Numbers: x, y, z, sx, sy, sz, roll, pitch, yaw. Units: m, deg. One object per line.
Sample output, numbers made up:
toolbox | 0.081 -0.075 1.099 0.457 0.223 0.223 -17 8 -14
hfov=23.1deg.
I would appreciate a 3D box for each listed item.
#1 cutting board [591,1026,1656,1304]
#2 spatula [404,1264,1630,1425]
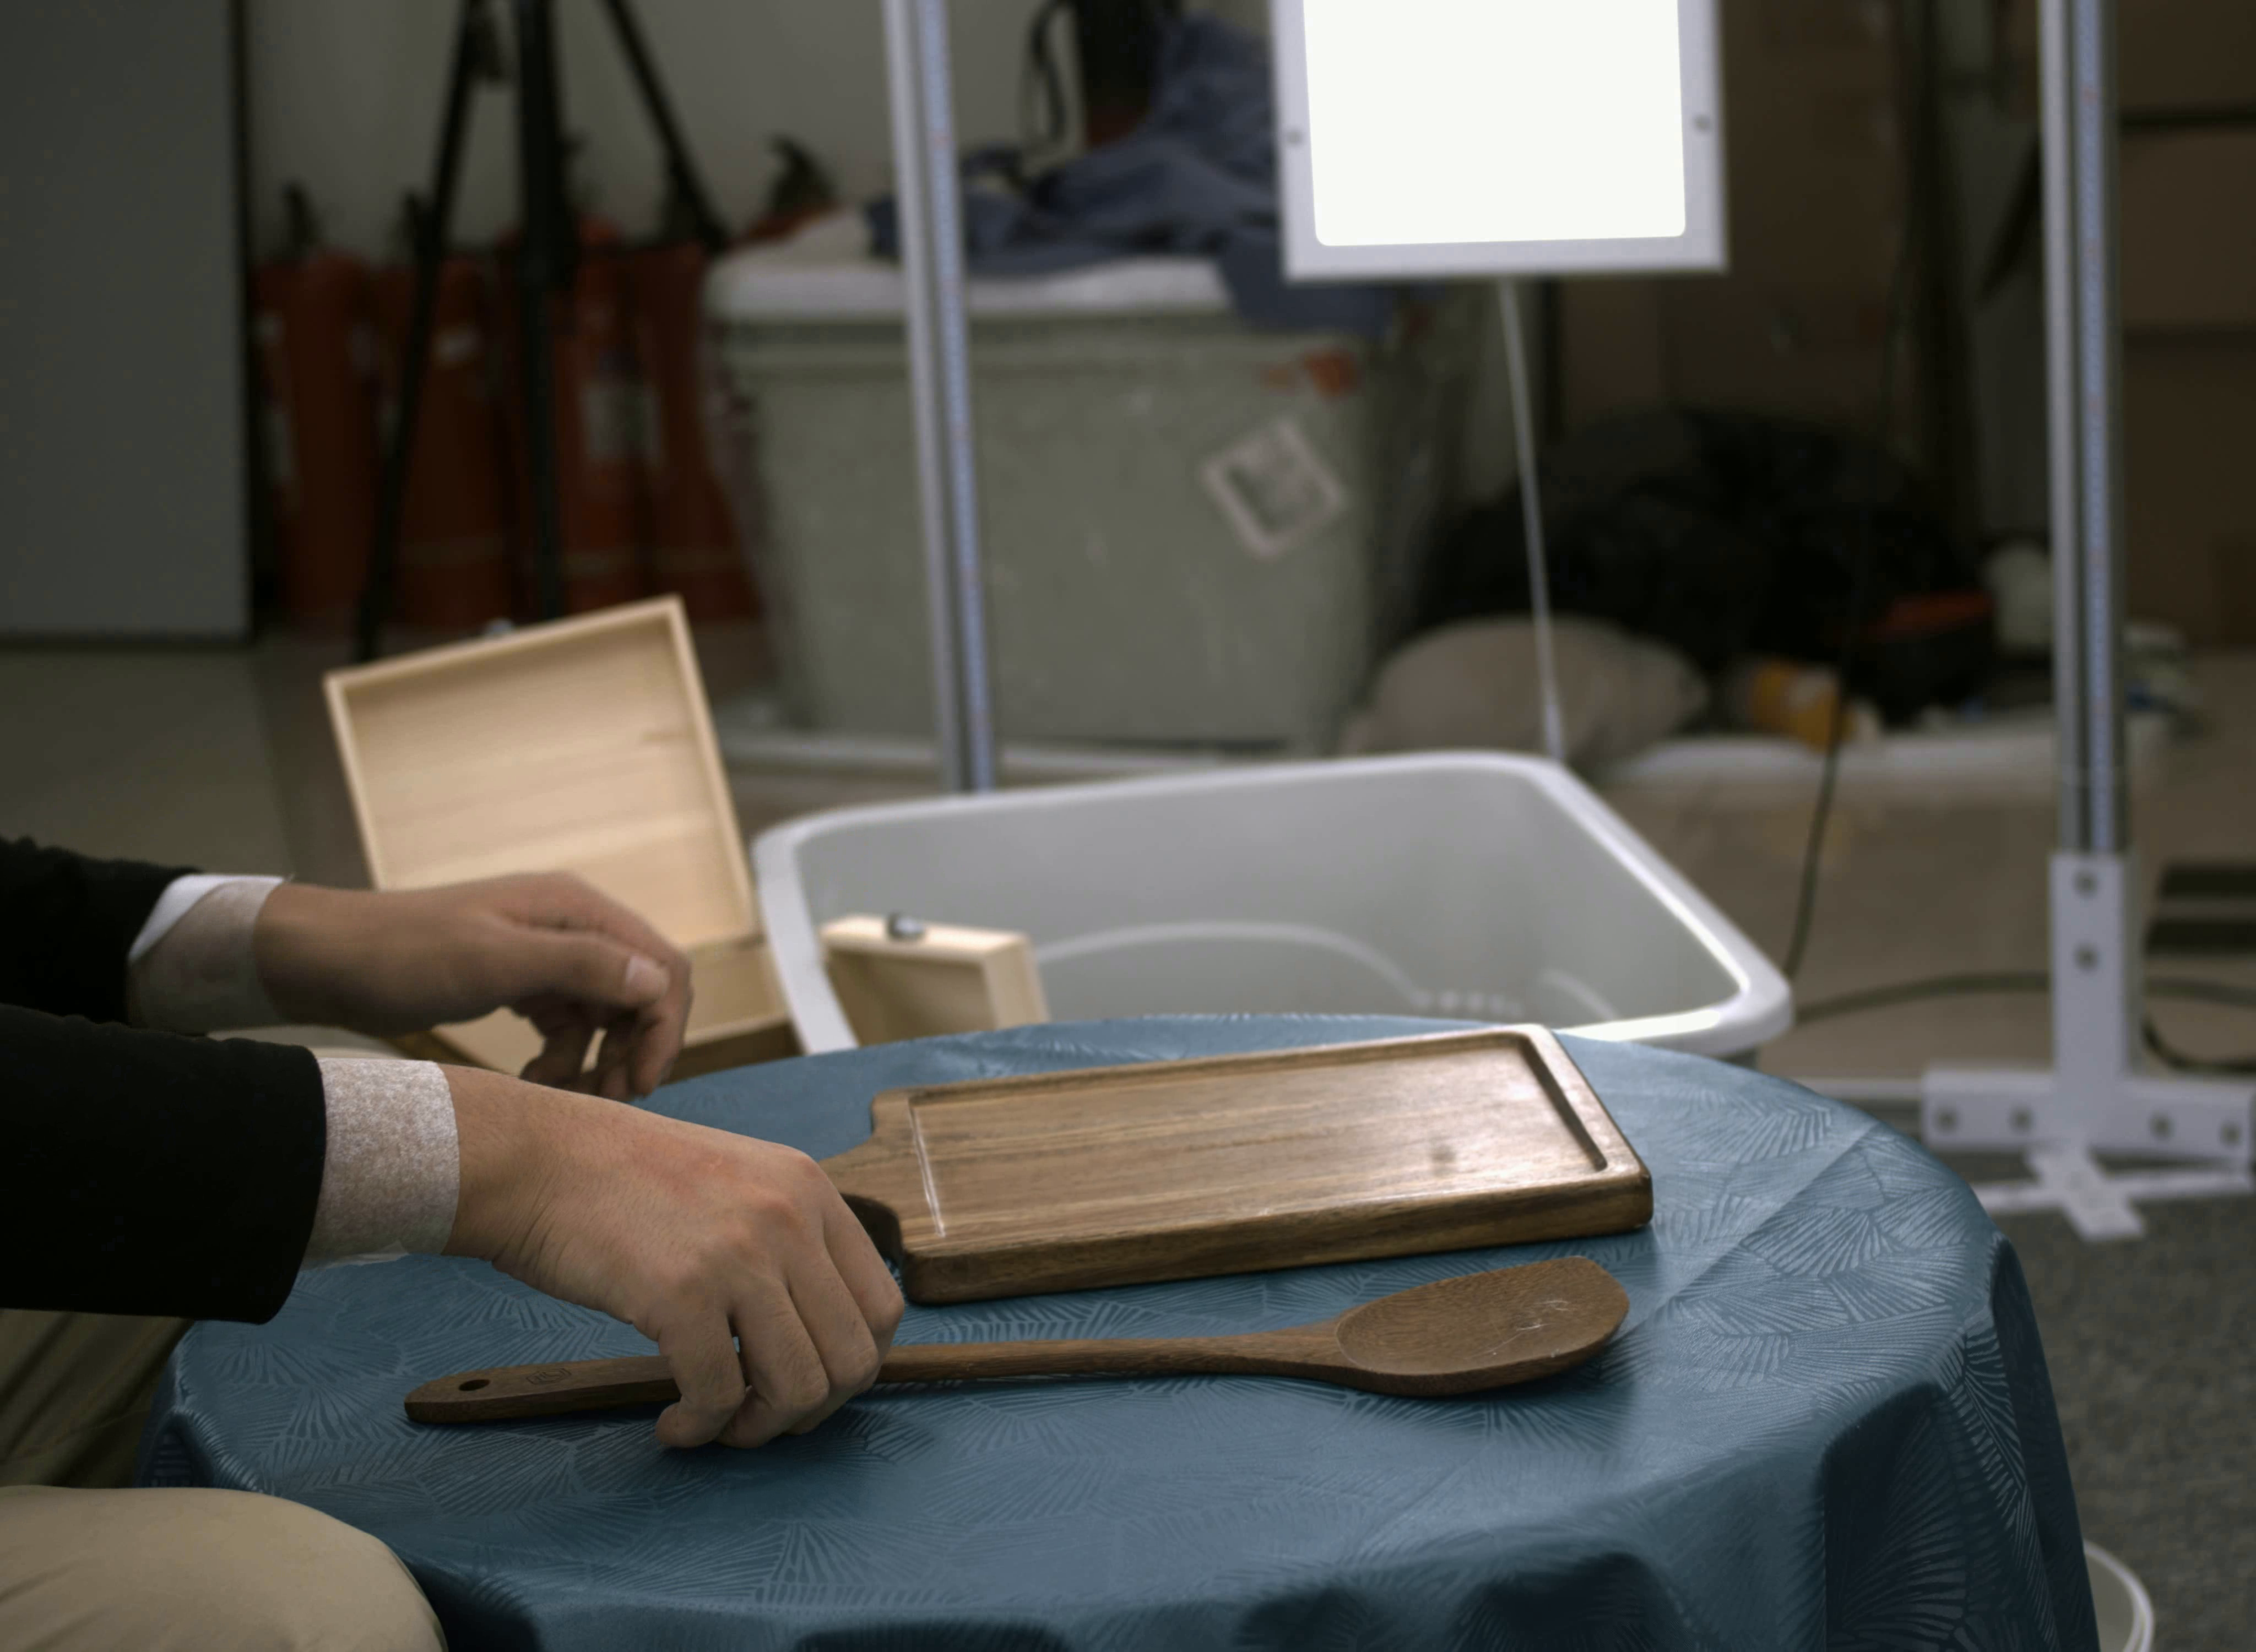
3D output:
cutting board | -0.009 0.119 1.891 0.350 0.023 0.201 -6 13 -3
spatula | -0.036 0.166 1.718 0.386 0.016 0.095 -4 13 5
